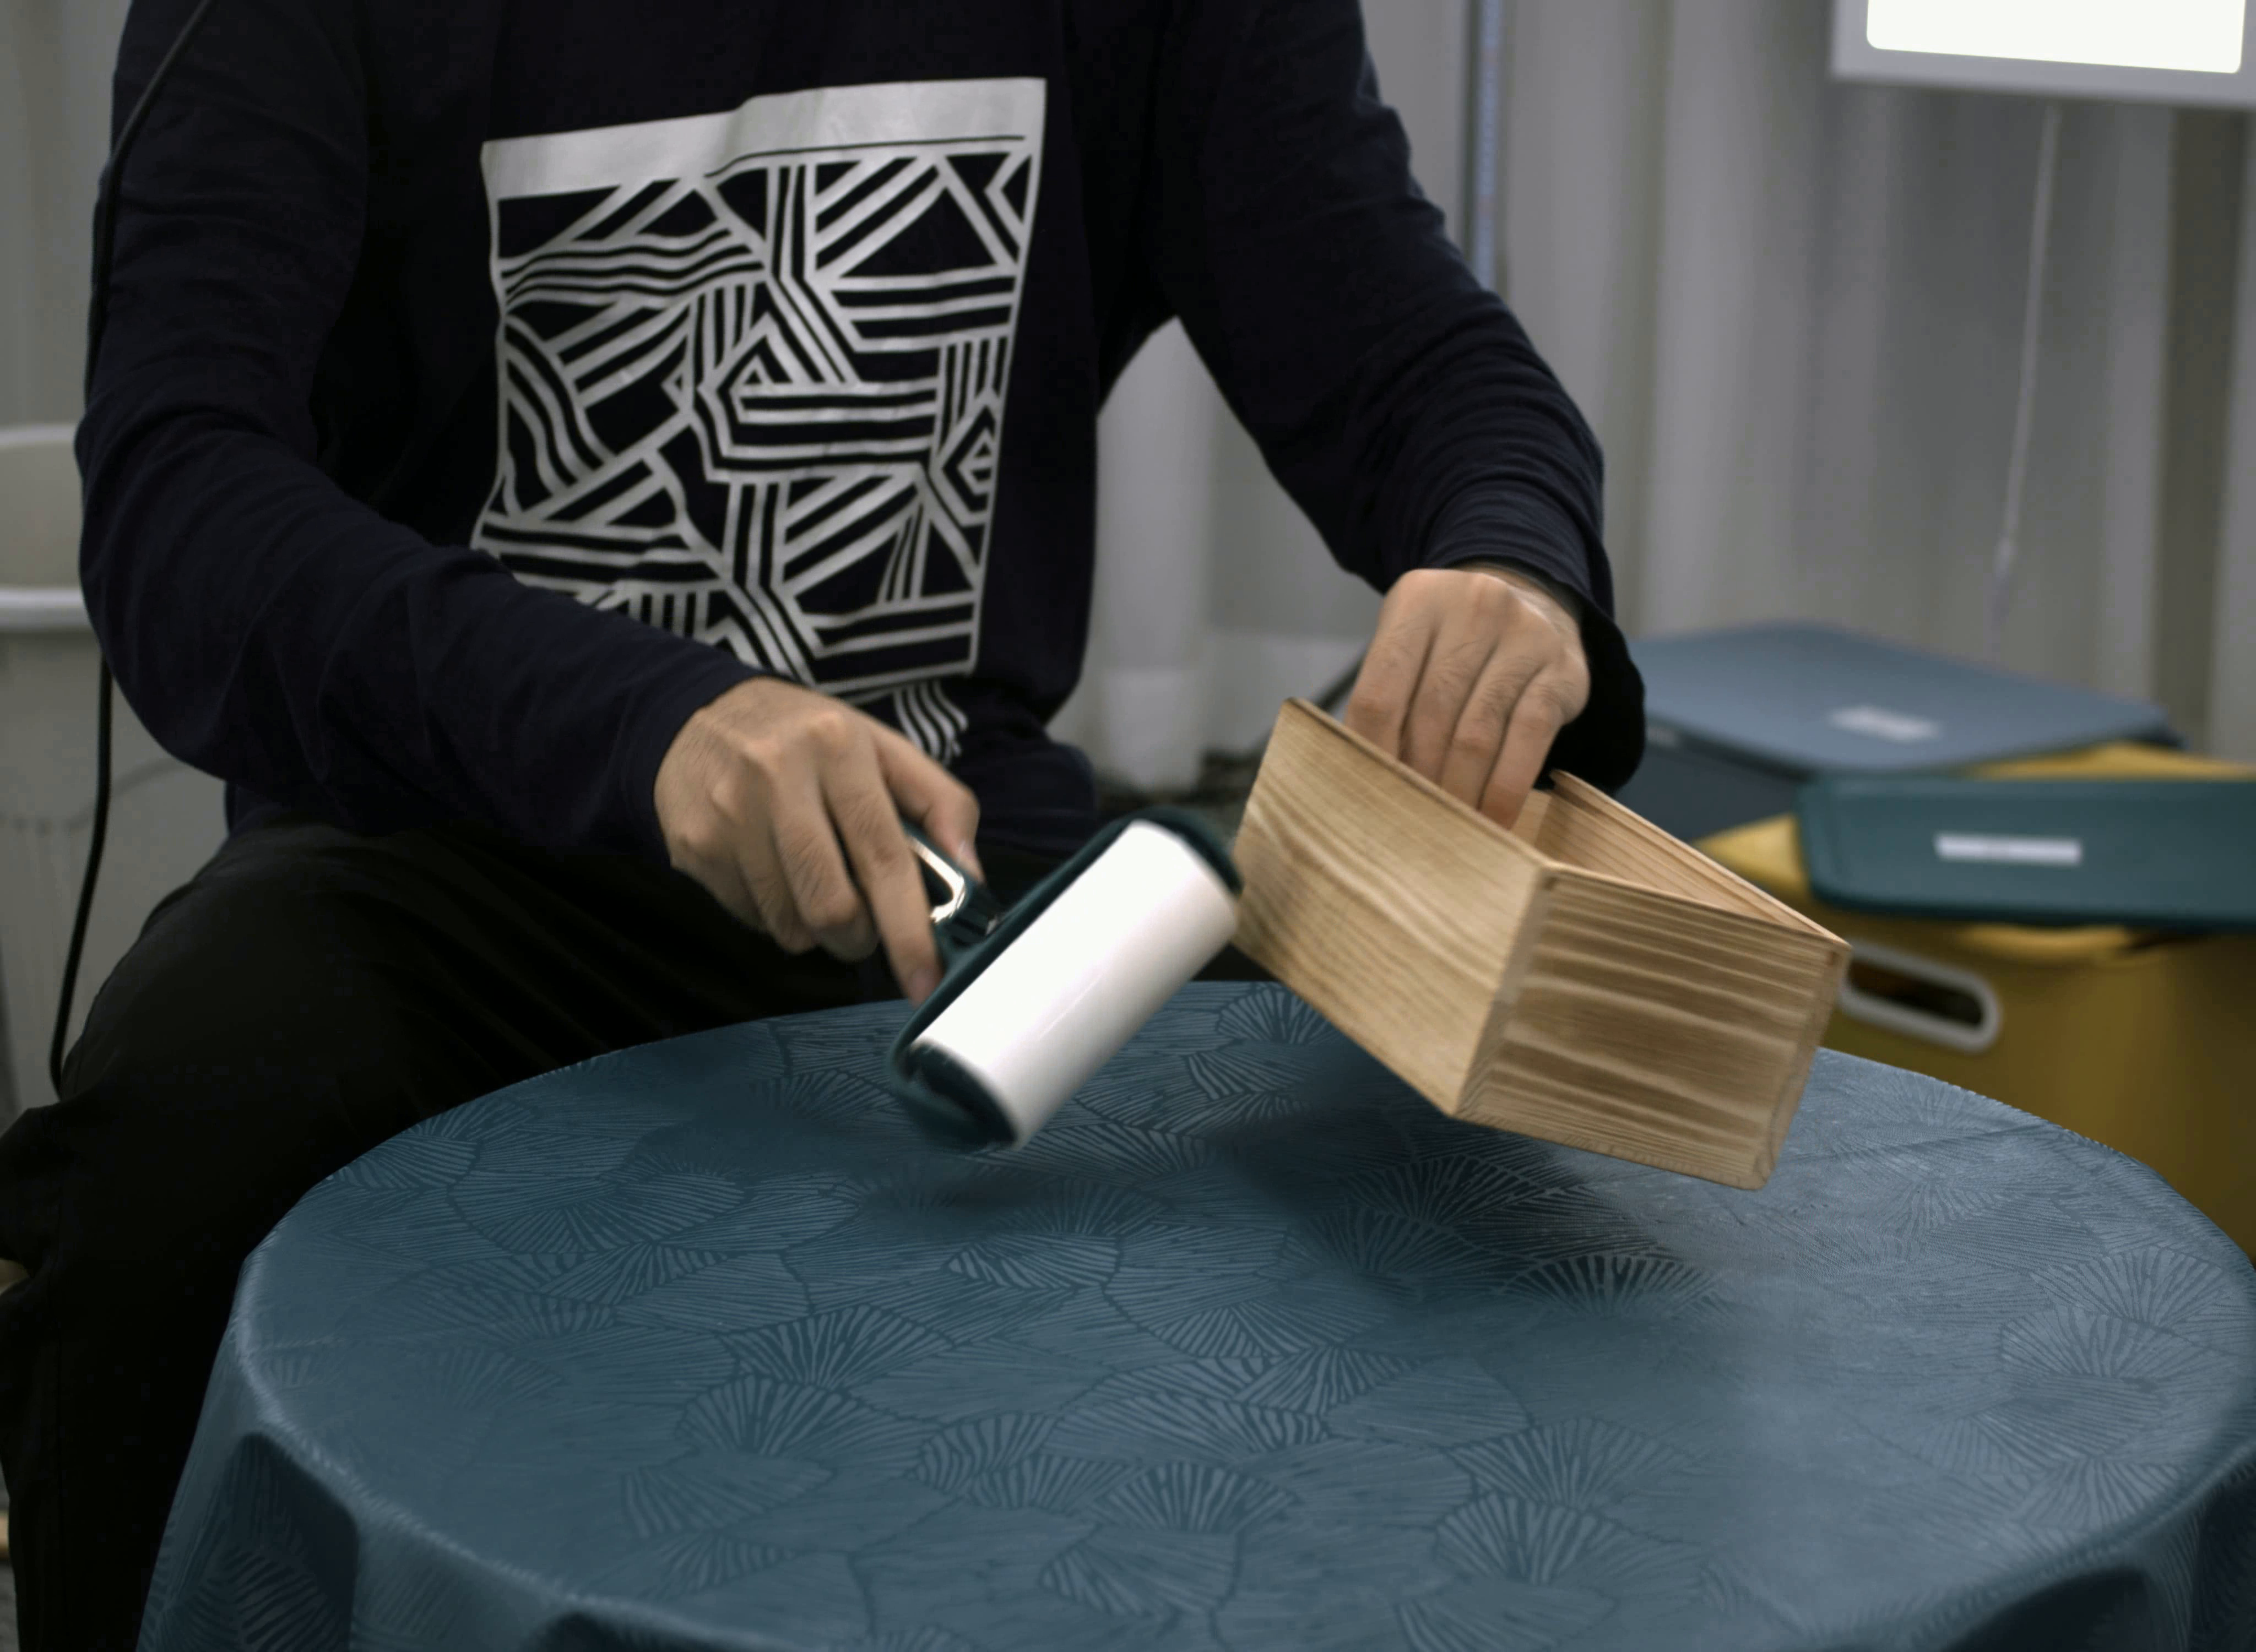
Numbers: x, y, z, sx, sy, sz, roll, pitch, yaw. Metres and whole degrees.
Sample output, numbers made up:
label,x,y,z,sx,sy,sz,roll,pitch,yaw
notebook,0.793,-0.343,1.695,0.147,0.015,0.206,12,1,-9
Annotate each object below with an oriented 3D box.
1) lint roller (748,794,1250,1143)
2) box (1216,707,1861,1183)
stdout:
label,x,y,z,sx,sy,sz,roll,pitch,yaw
lint roller,-0.062,0.018,1.664,0.177,0.049,0.134,29,65,34
box,0.120,0.033,1.609,0.108,0.080,0.209,15,8,-23
